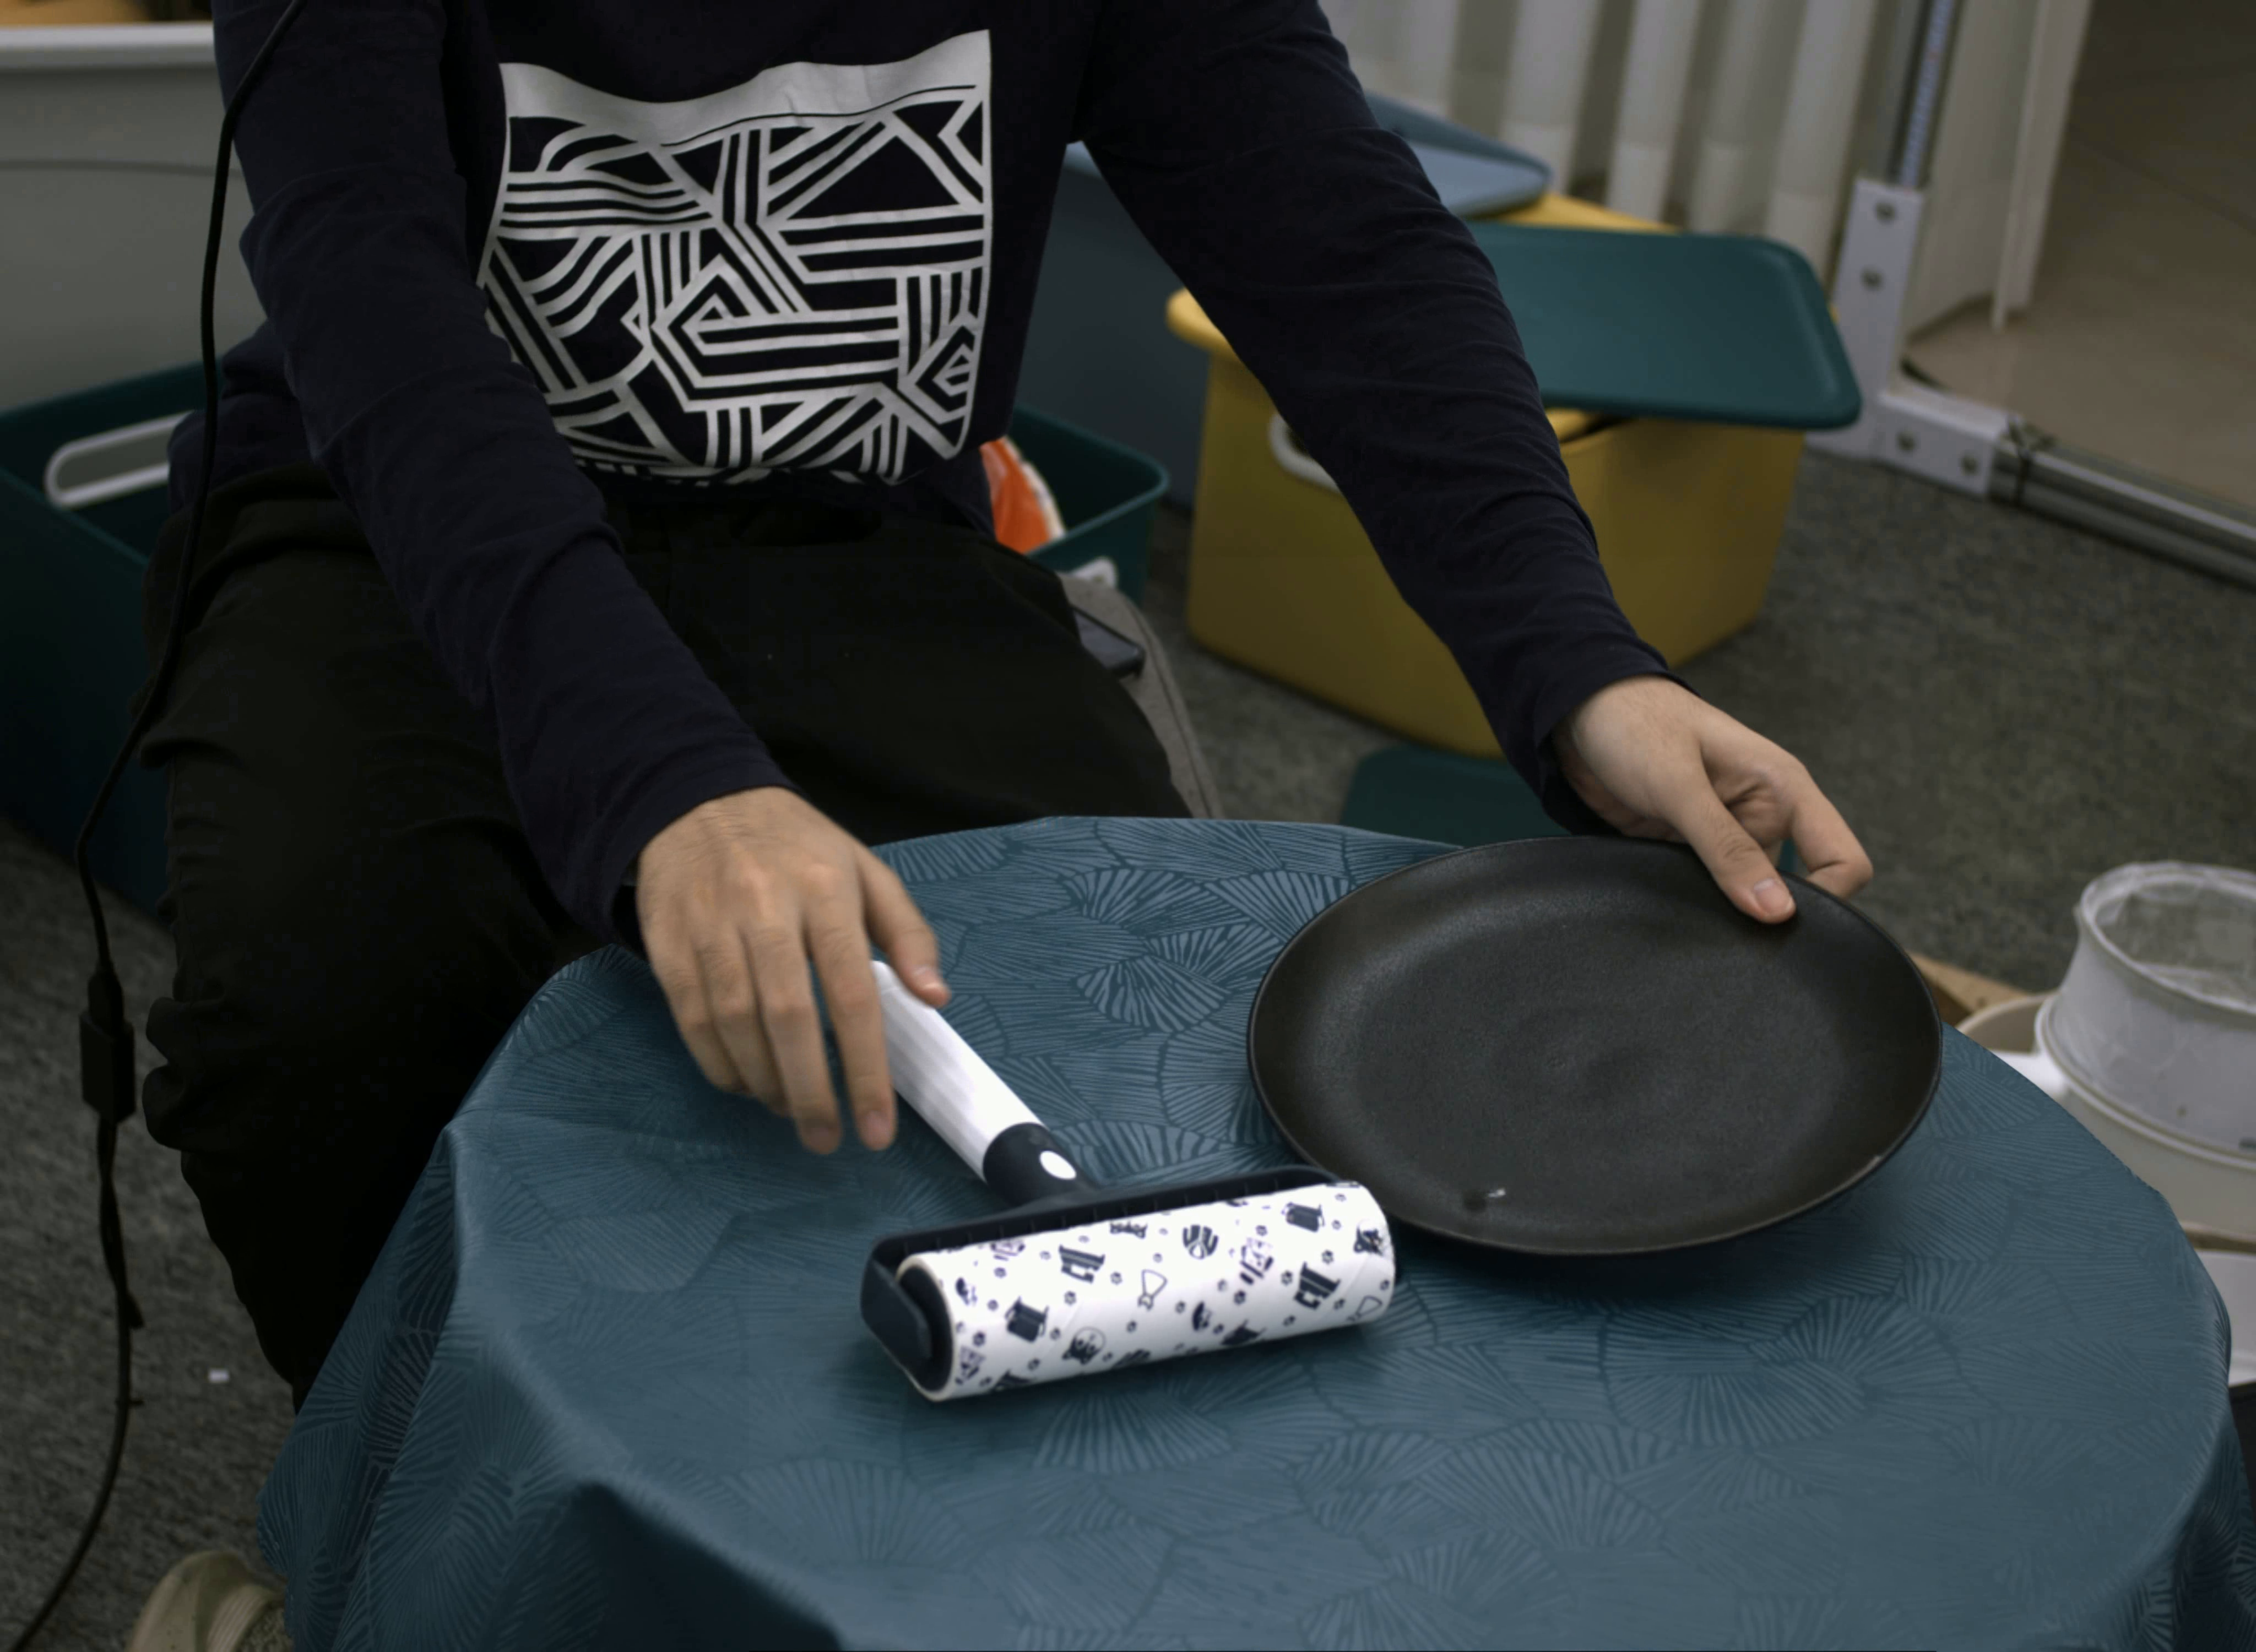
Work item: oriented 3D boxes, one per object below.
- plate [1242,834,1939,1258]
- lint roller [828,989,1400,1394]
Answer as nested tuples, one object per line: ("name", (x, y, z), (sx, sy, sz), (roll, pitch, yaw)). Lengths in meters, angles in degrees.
("plate", (0.161, 0.080, 1.866), (0.244, 0.023, 0.246), (-3, 34, 1))
("lint roller", (-0.043, 0.106, 1.786), (0.175, 0.050, 0.249), (-9, 28, -26))
